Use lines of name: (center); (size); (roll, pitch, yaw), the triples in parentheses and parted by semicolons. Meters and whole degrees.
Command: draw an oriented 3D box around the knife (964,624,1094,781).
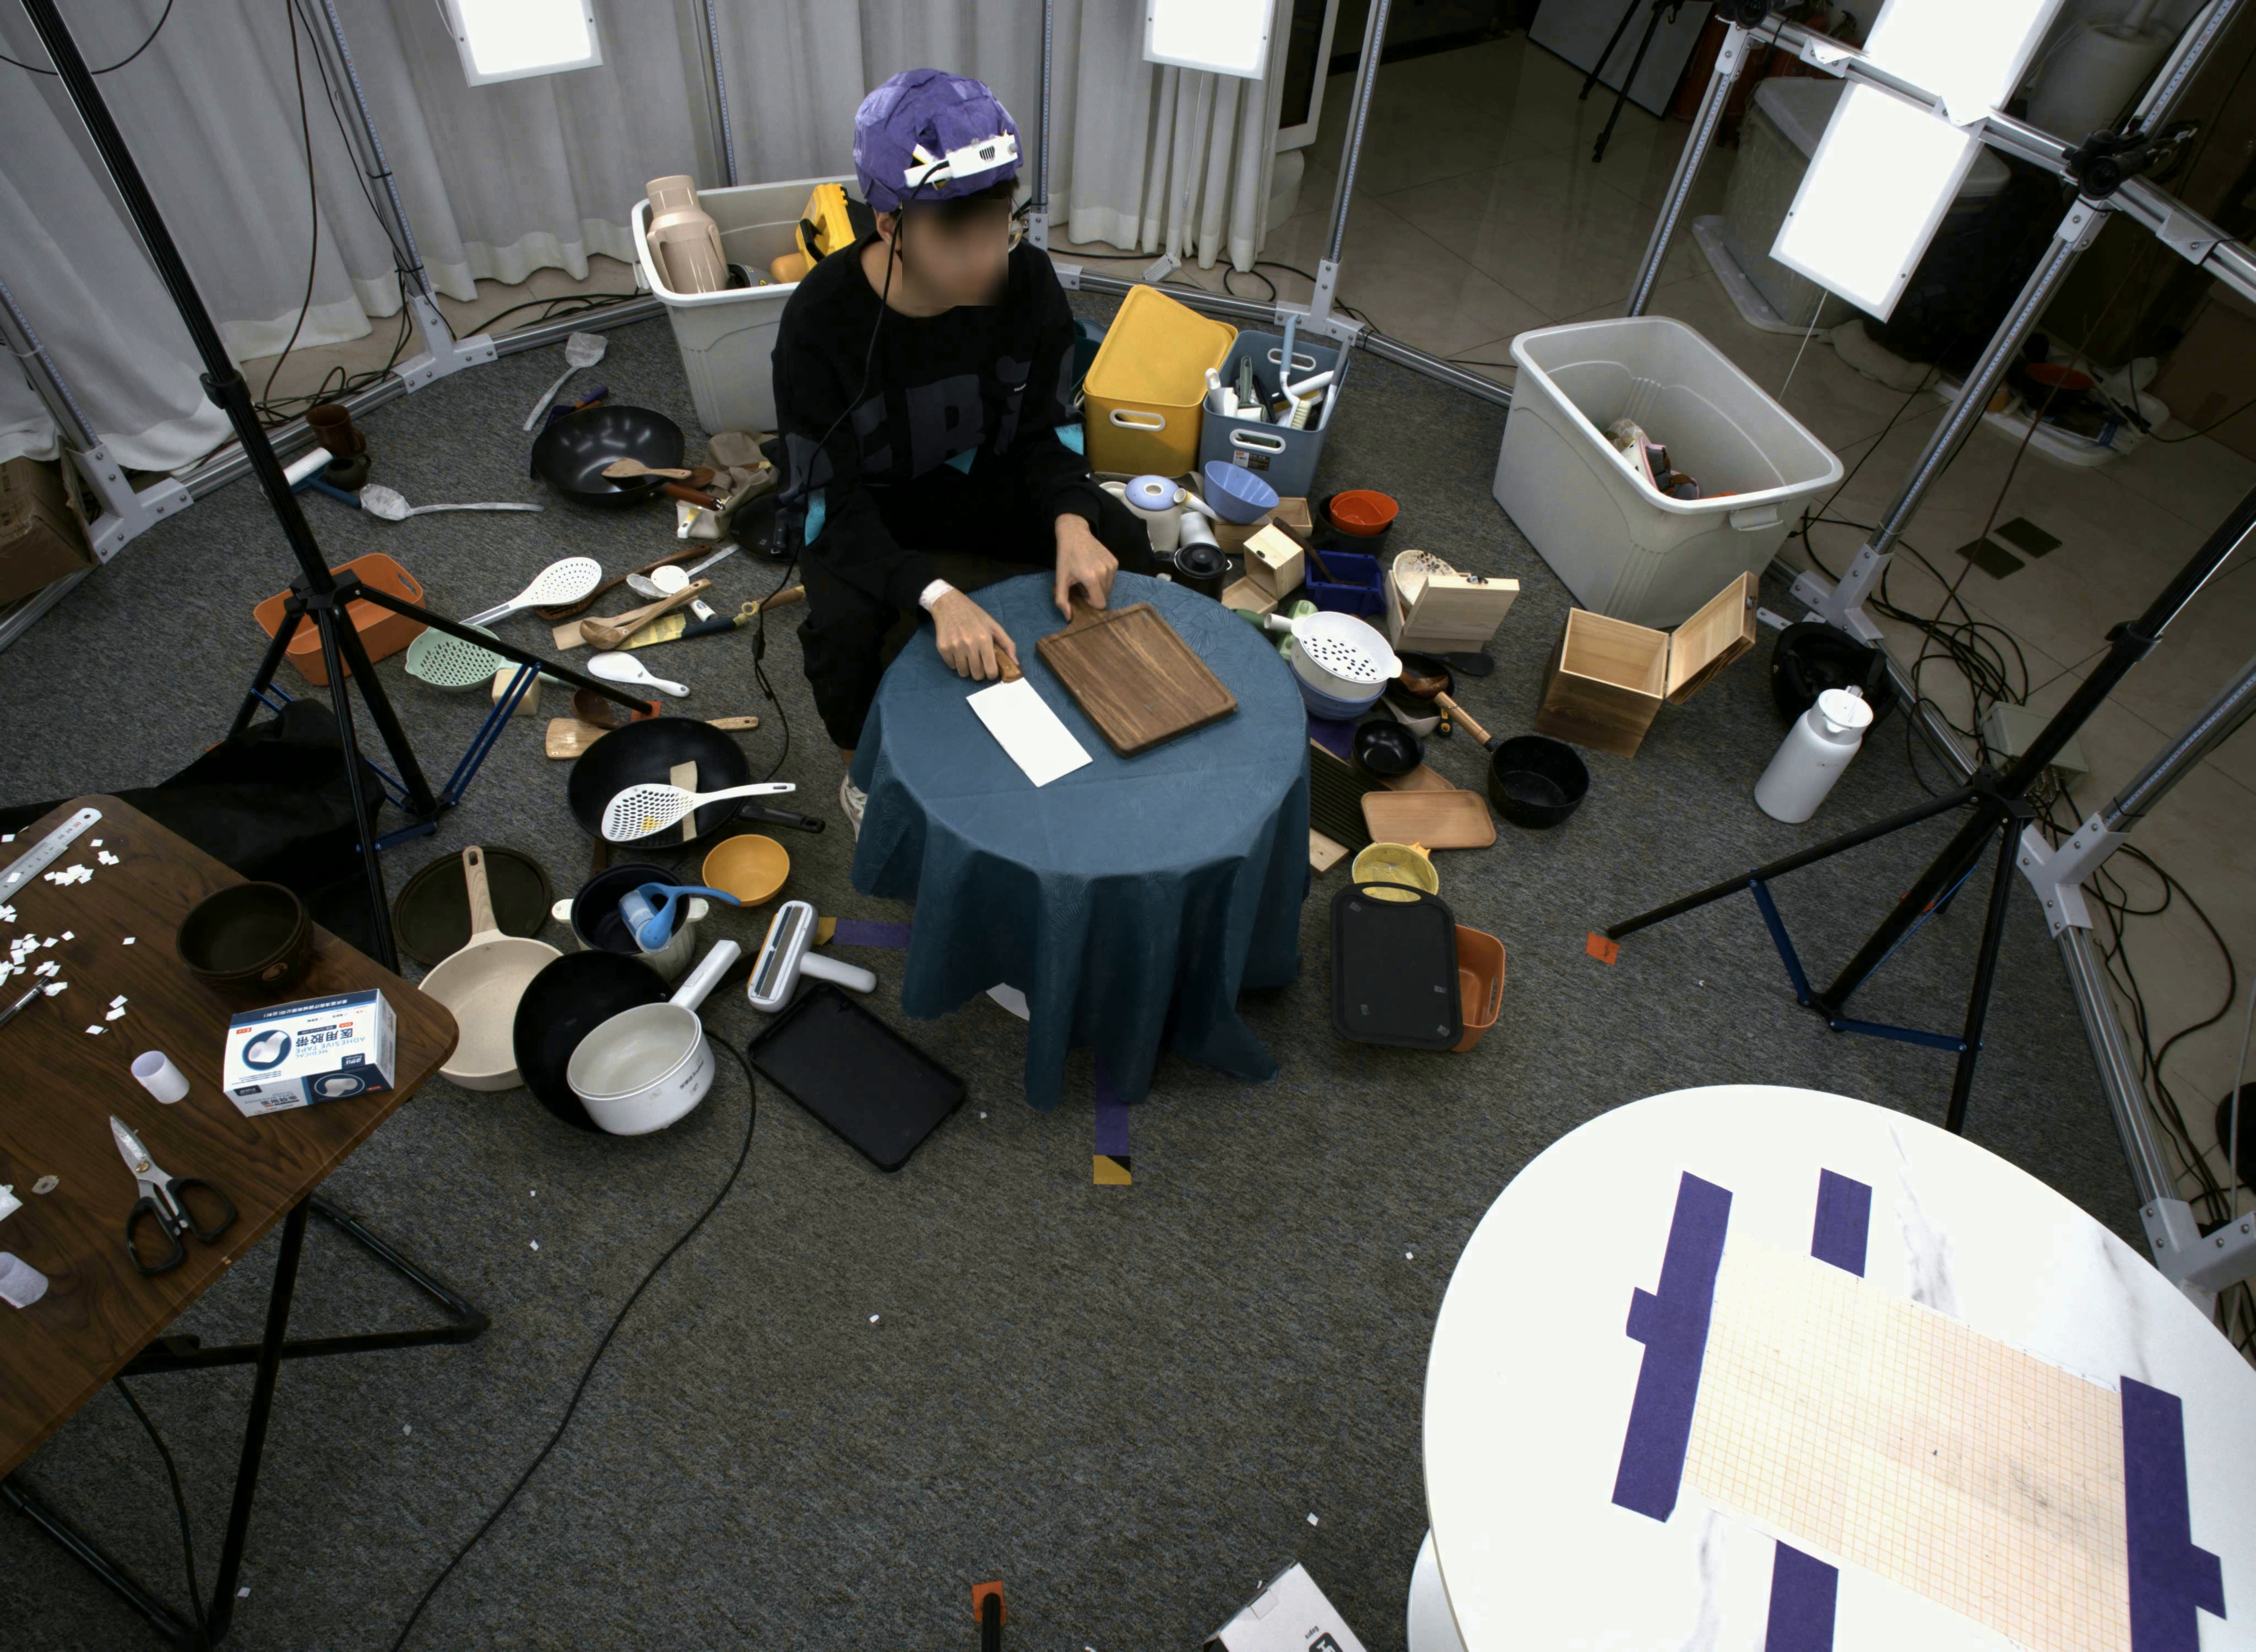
knife: (-0.164, -0.174, 1.799); (0.093, 0.020, 0.311); (-26, 58, -21)

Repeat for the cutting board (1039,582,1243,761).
cutting board: (-0.009, -0.246, 1.869); (0.202, 0.022, 0.359); (-23, 54, -22)
